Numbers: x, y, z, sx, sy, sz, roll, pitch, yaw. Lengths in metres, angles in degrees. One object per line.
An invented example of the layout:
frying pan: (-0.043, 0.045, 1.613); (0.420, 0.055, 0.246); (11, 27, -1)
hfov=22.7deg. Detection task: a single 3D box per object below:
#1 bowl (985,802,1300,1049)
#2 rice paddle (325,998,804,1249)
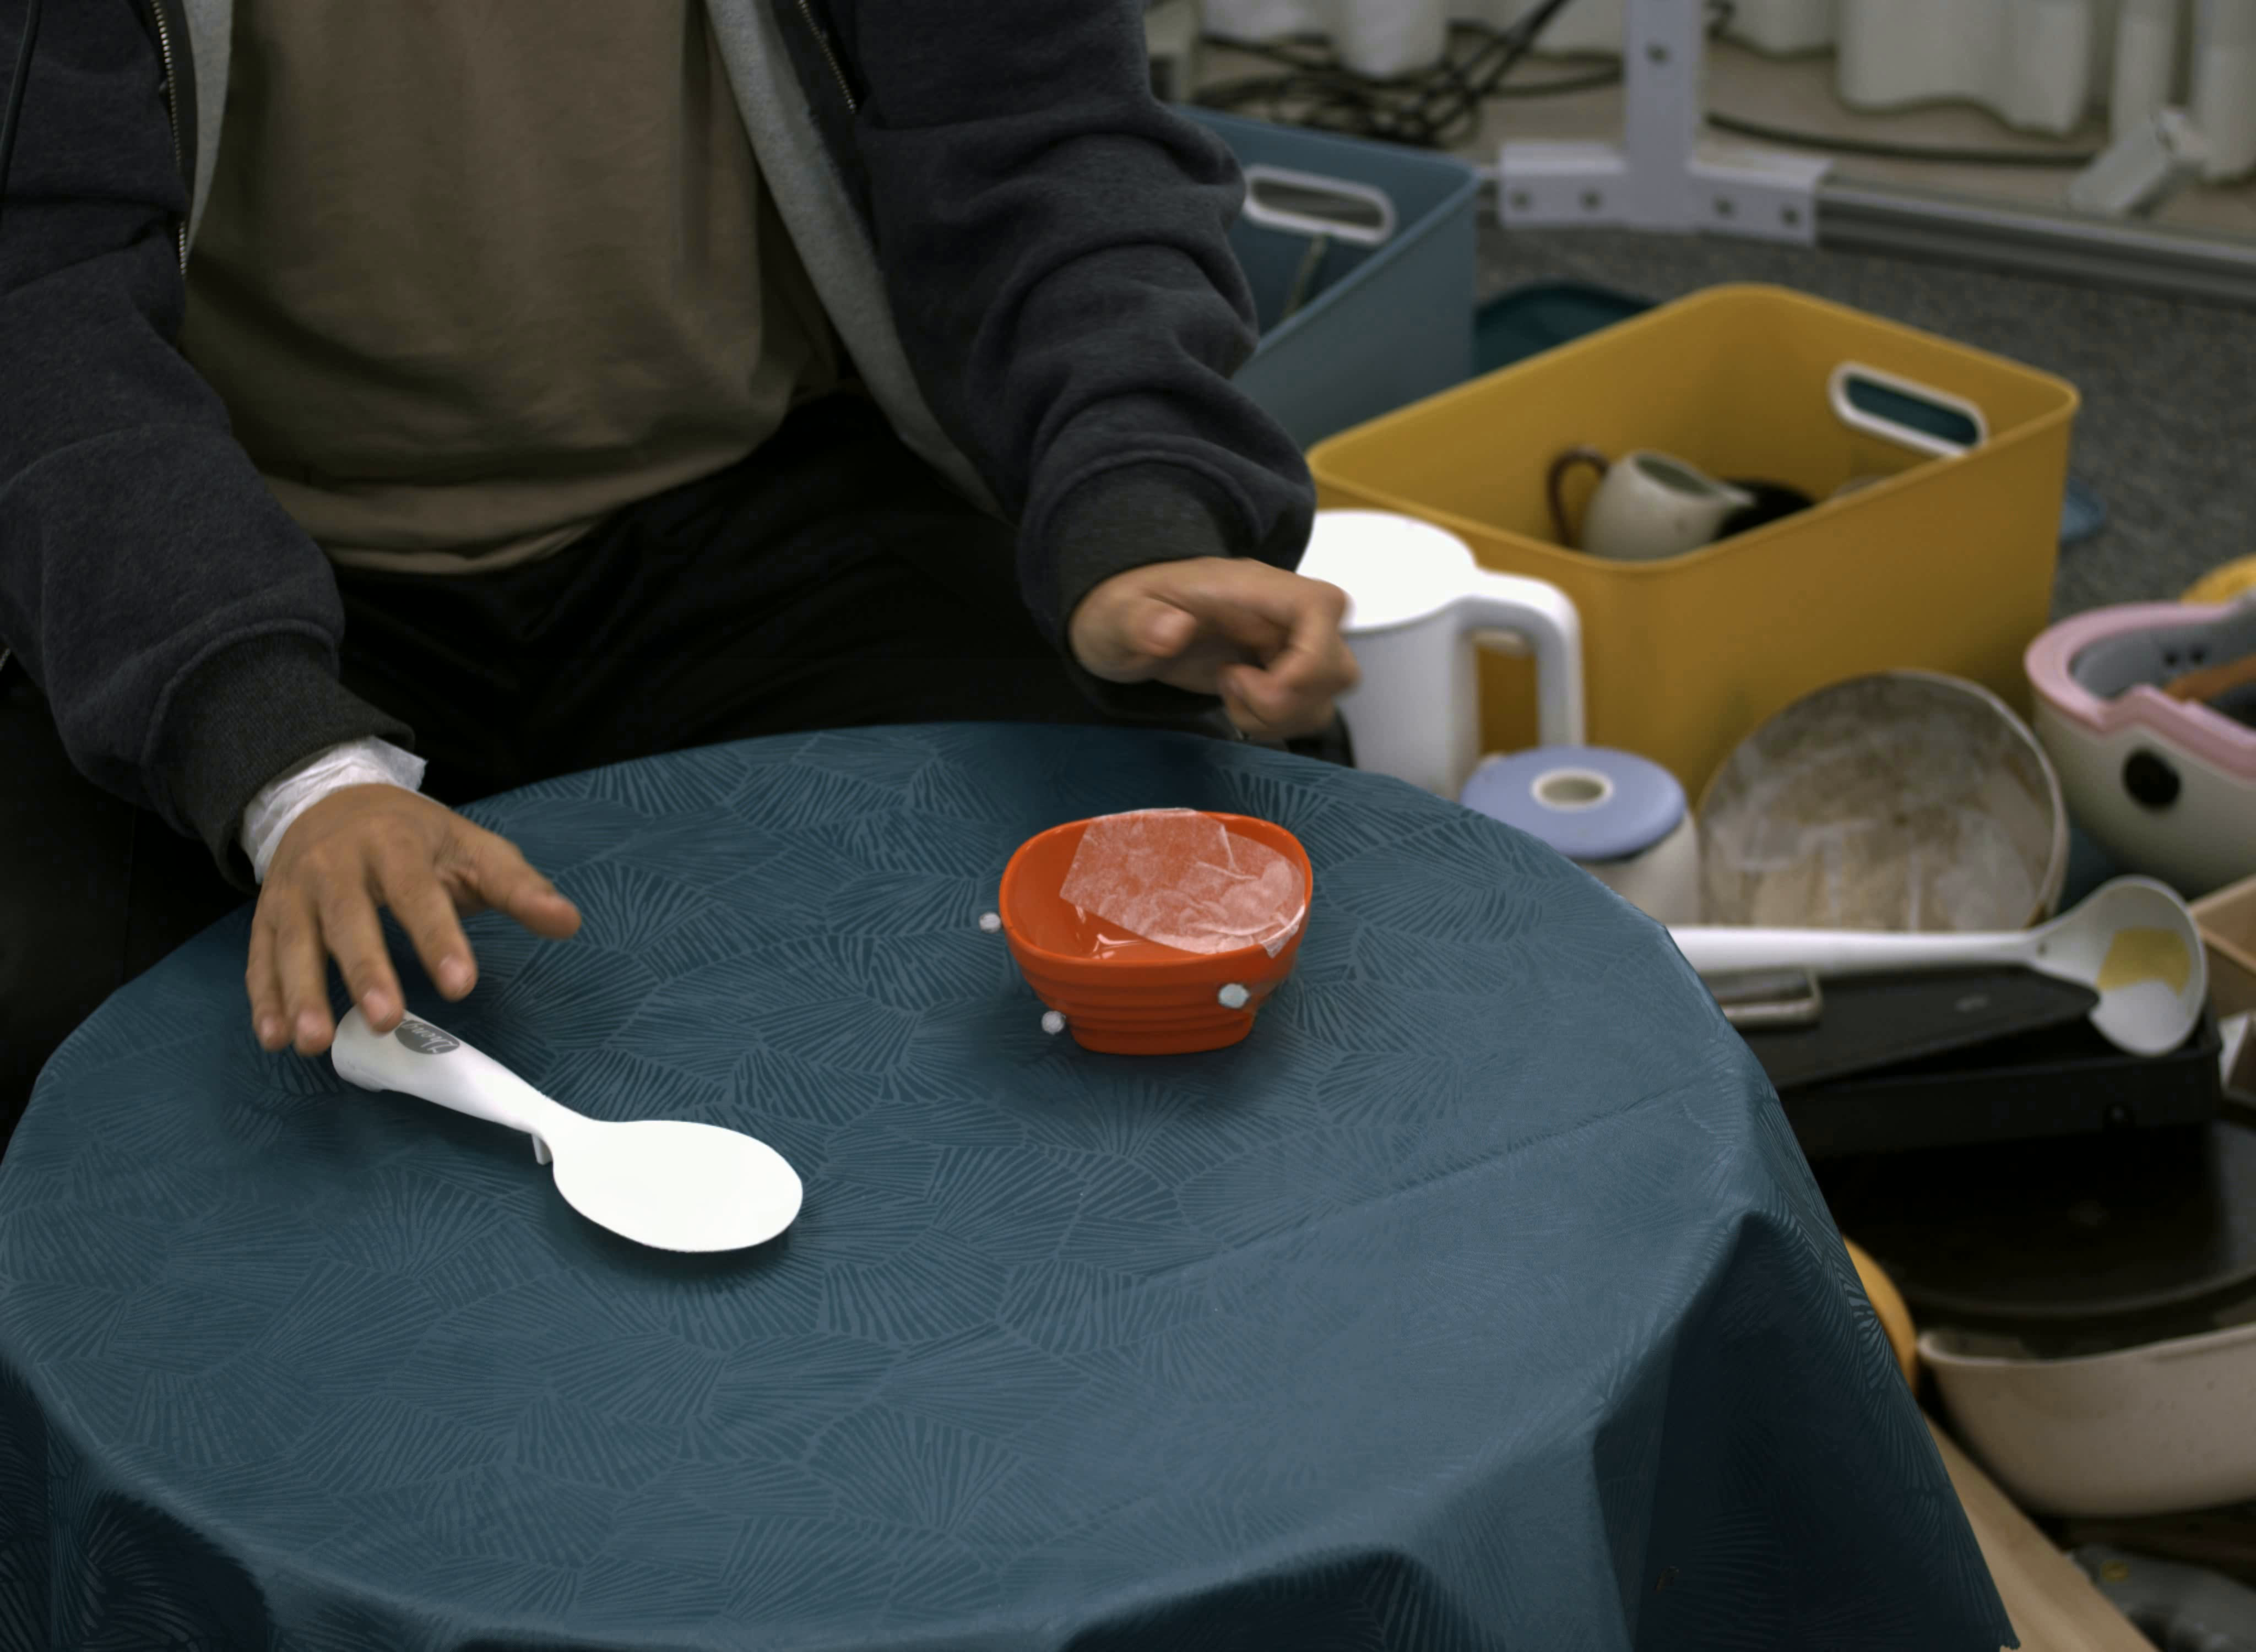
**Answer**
bowl: (0.007, 0.039, 1.959); (0.118, 0.051, 0.121); (-4, 27, 2)
rice paddle: (-0.190, 0.101, 1.888); (0.204, 0.029, 0.070); (20, 37, 37)
